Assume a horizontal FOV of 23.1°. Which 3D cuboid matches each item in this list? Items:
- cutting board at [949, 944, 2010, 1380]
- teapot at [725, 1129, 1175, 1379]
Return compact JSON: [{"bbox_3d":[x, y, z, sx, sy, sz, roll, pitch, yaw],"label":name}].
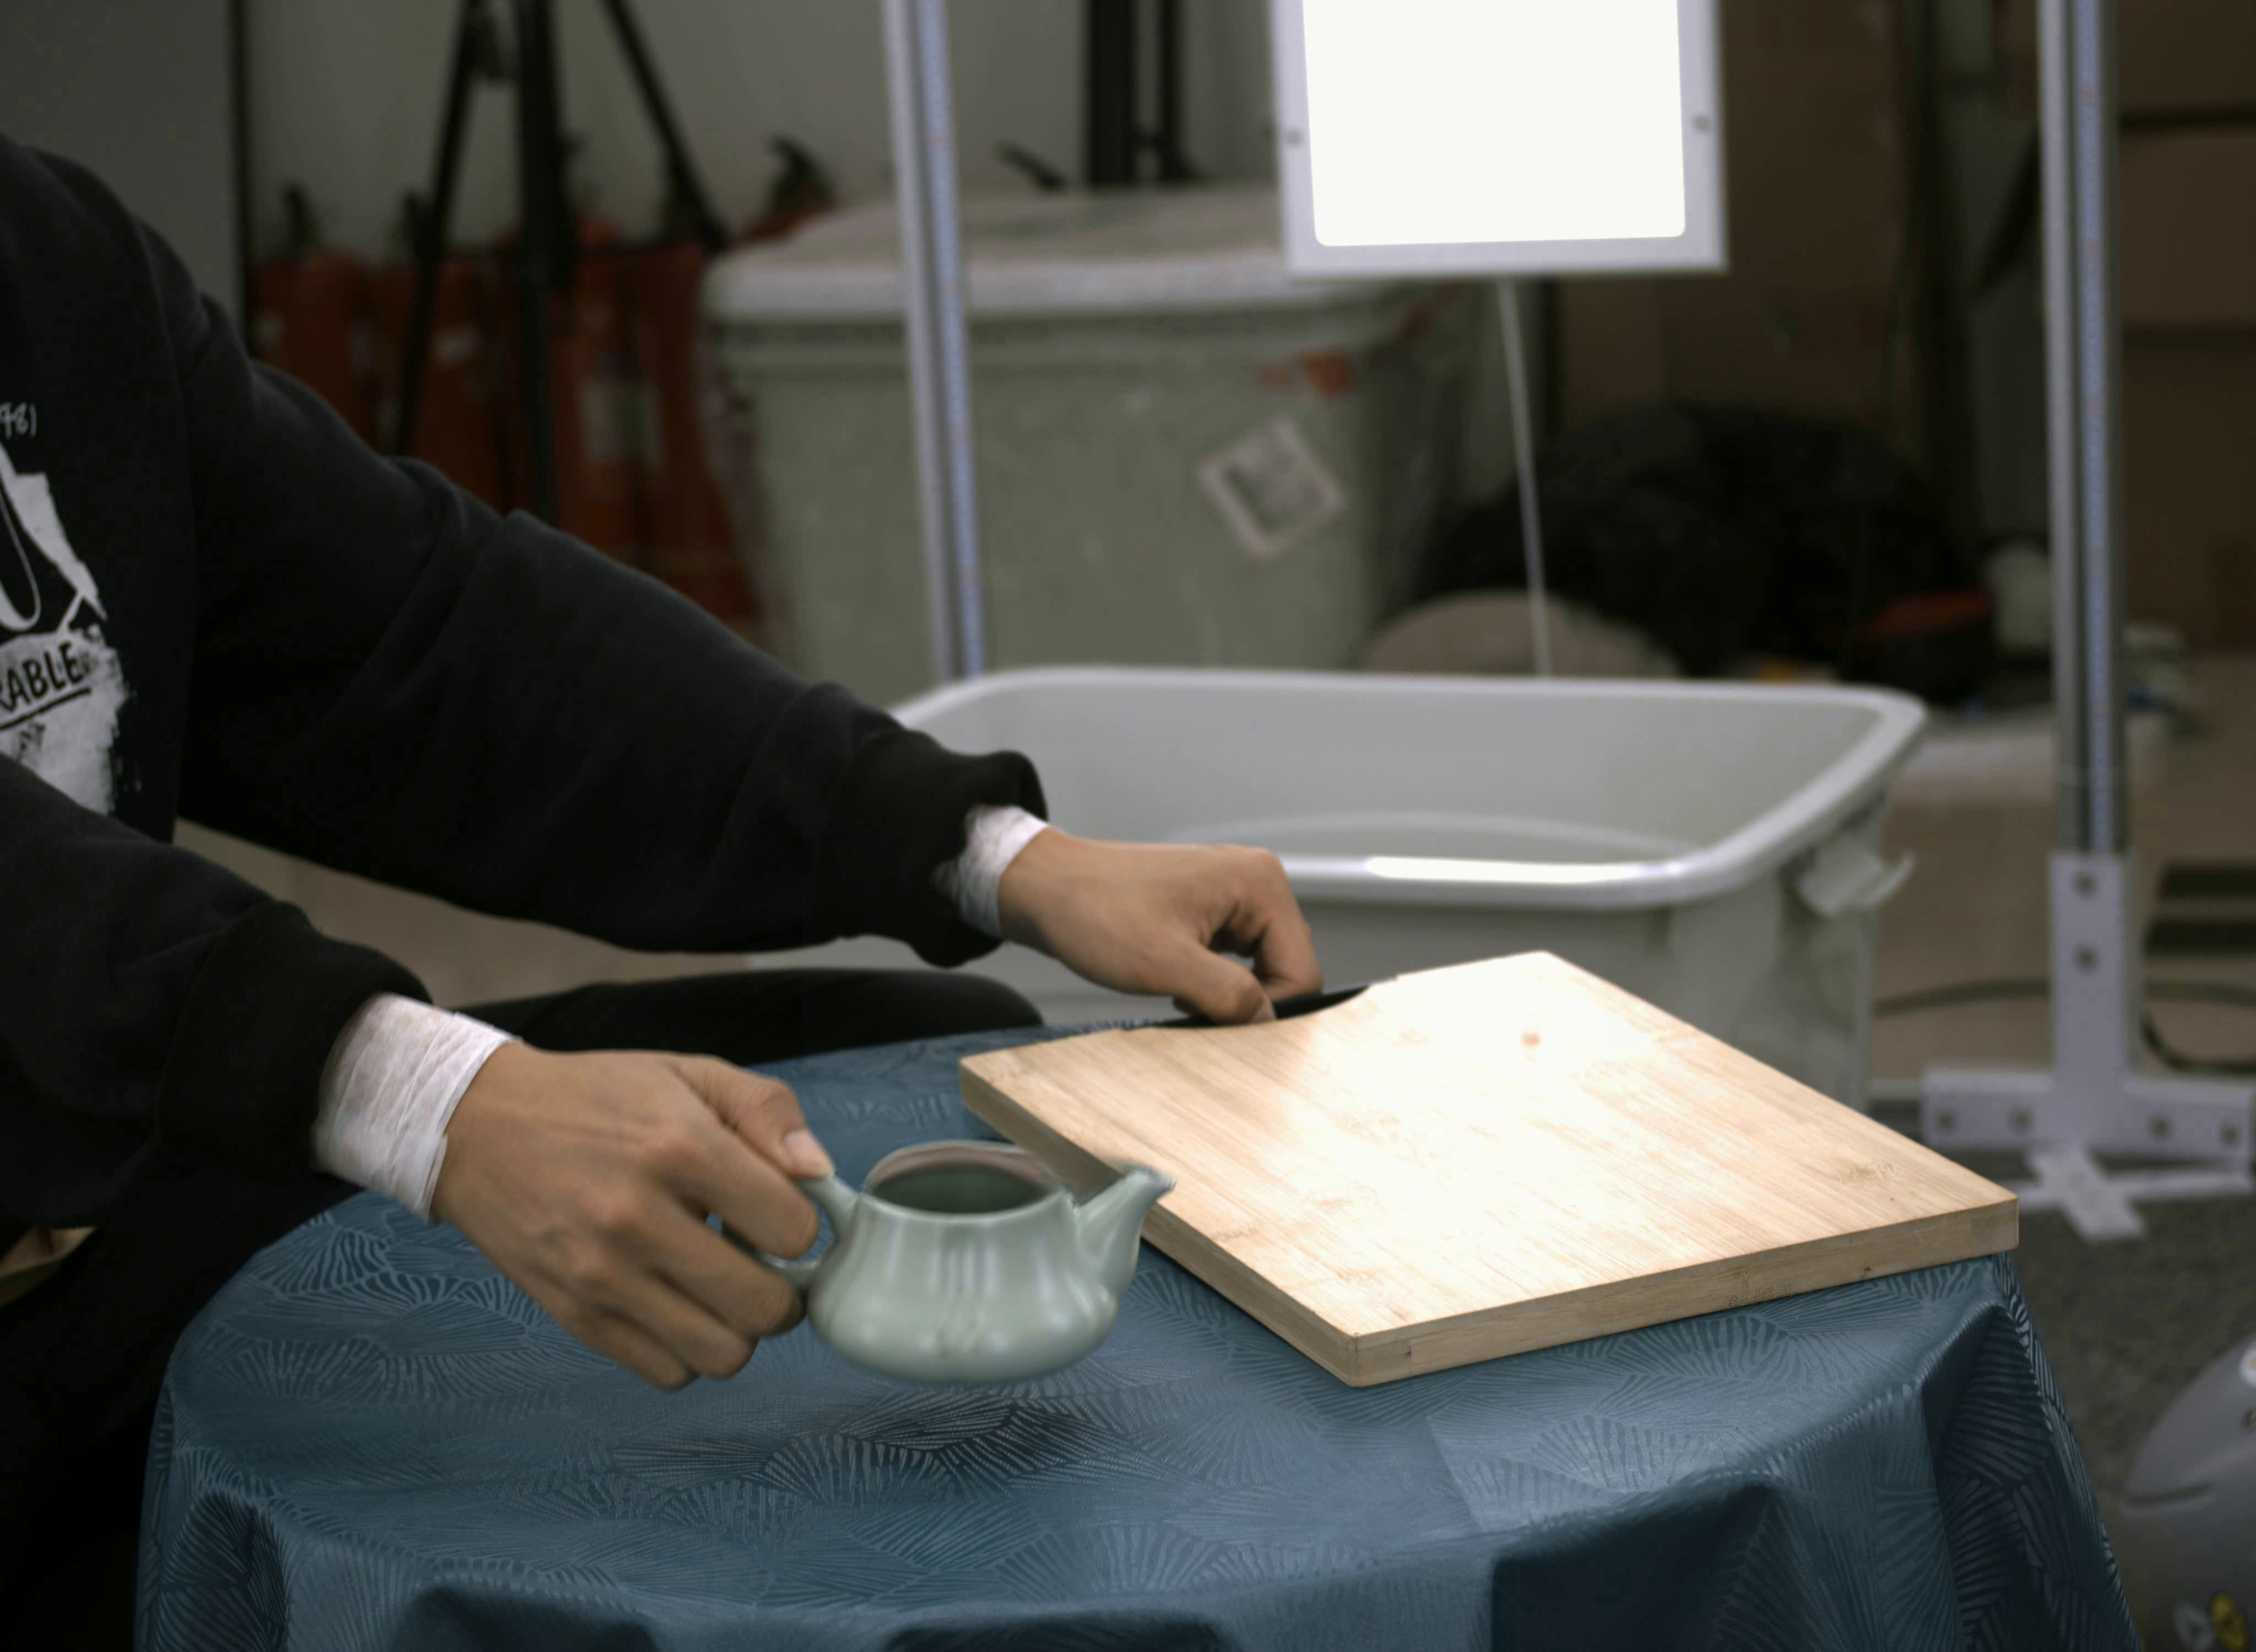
[{"bbox_3d":[0.111,0.109,1.880,0.246,0.023,0.353,-10,16,-21],"label":"cutting board"},{"bbox_3d":[-0.054,0.128,1.670,0.136,0.062,0.096,0,20,-5],"label":"teapot"}]
